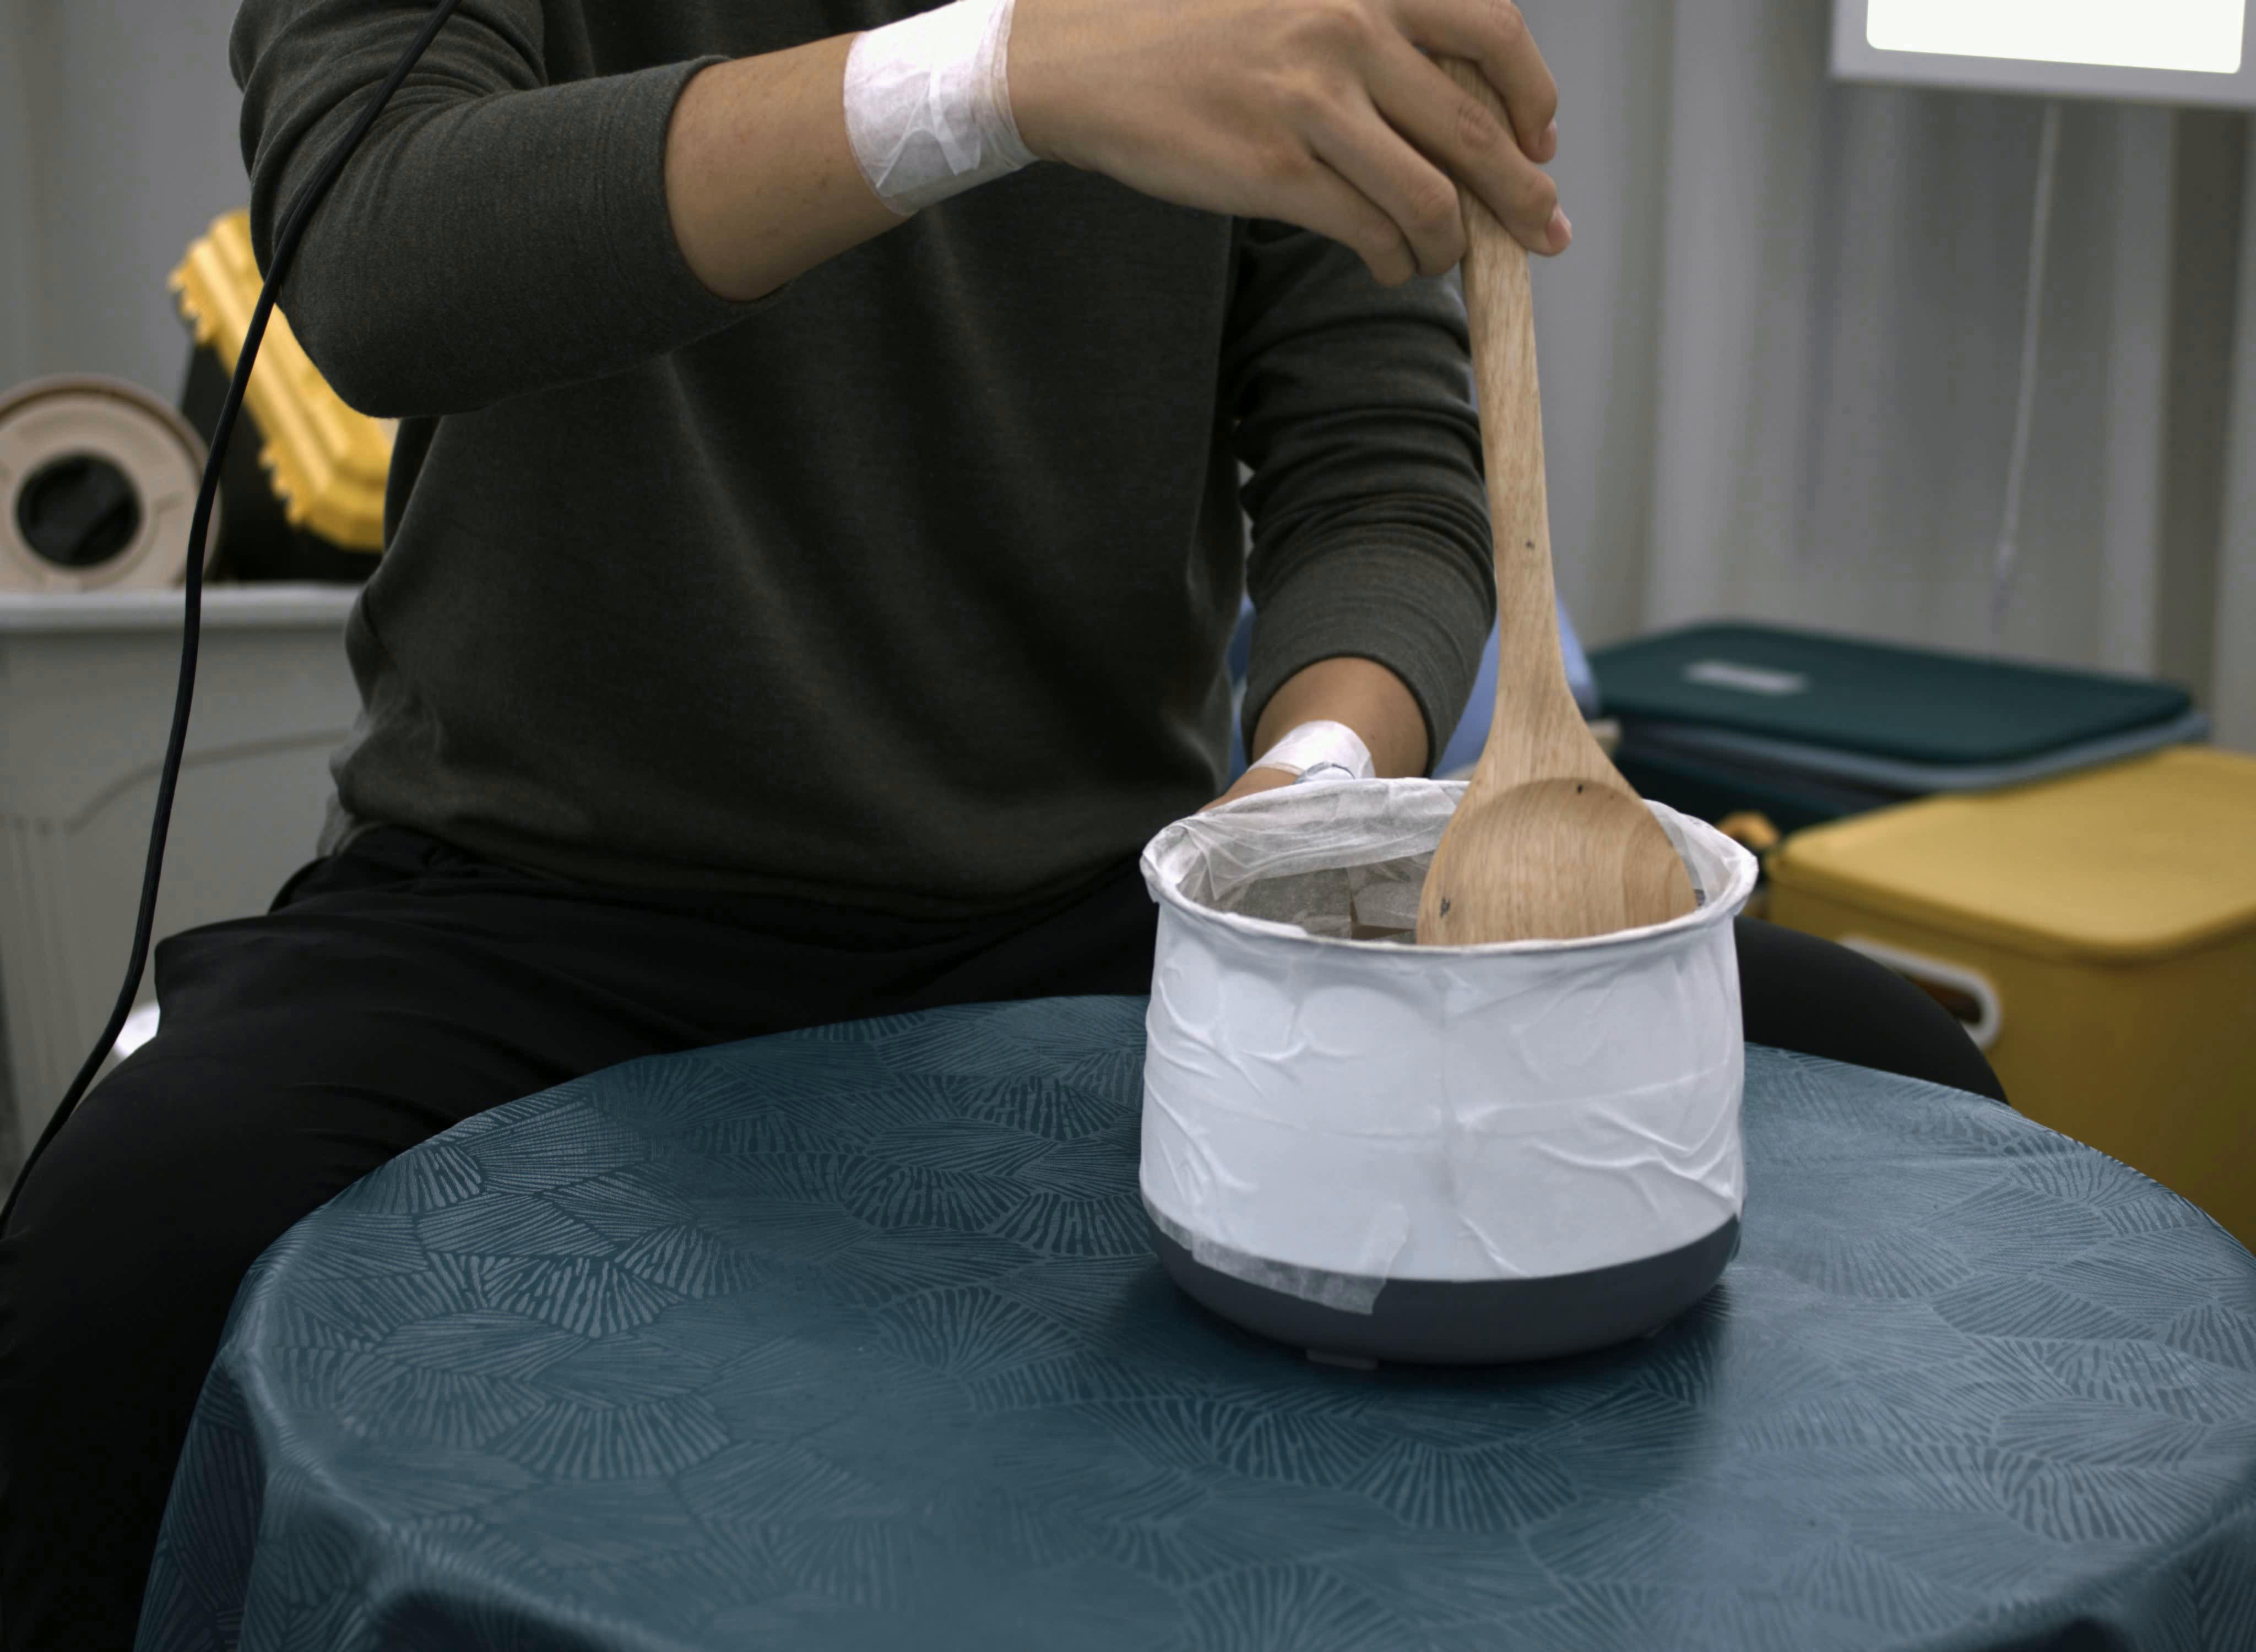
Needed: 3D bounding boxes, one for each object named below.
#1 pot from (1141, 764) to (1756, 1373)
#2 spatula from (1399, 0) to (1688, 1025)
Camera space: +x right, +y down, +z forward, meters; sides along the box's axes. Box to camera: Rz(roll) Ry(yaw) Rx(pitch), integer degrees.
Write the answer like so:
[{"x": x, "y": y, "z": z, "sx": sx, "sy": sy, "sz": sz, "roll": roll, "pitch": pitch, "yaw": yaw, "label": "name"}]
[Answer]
[{"x": 0.083, "y": 0.065, "z": 1.548, "sx": 0.179, "sy": 0.138, "sz": 0.231, "roll": -5, "pitch": 16, "yaw": -19, "label": "pot"}, {"x": 0.102, "y": -0.116, "z": 1.487, "sx": 0.096, "sy": 0.393, "sz": 0.018, "roll": -9, "pitch": 7, "yaw": -25, "label": "spatula"}]
